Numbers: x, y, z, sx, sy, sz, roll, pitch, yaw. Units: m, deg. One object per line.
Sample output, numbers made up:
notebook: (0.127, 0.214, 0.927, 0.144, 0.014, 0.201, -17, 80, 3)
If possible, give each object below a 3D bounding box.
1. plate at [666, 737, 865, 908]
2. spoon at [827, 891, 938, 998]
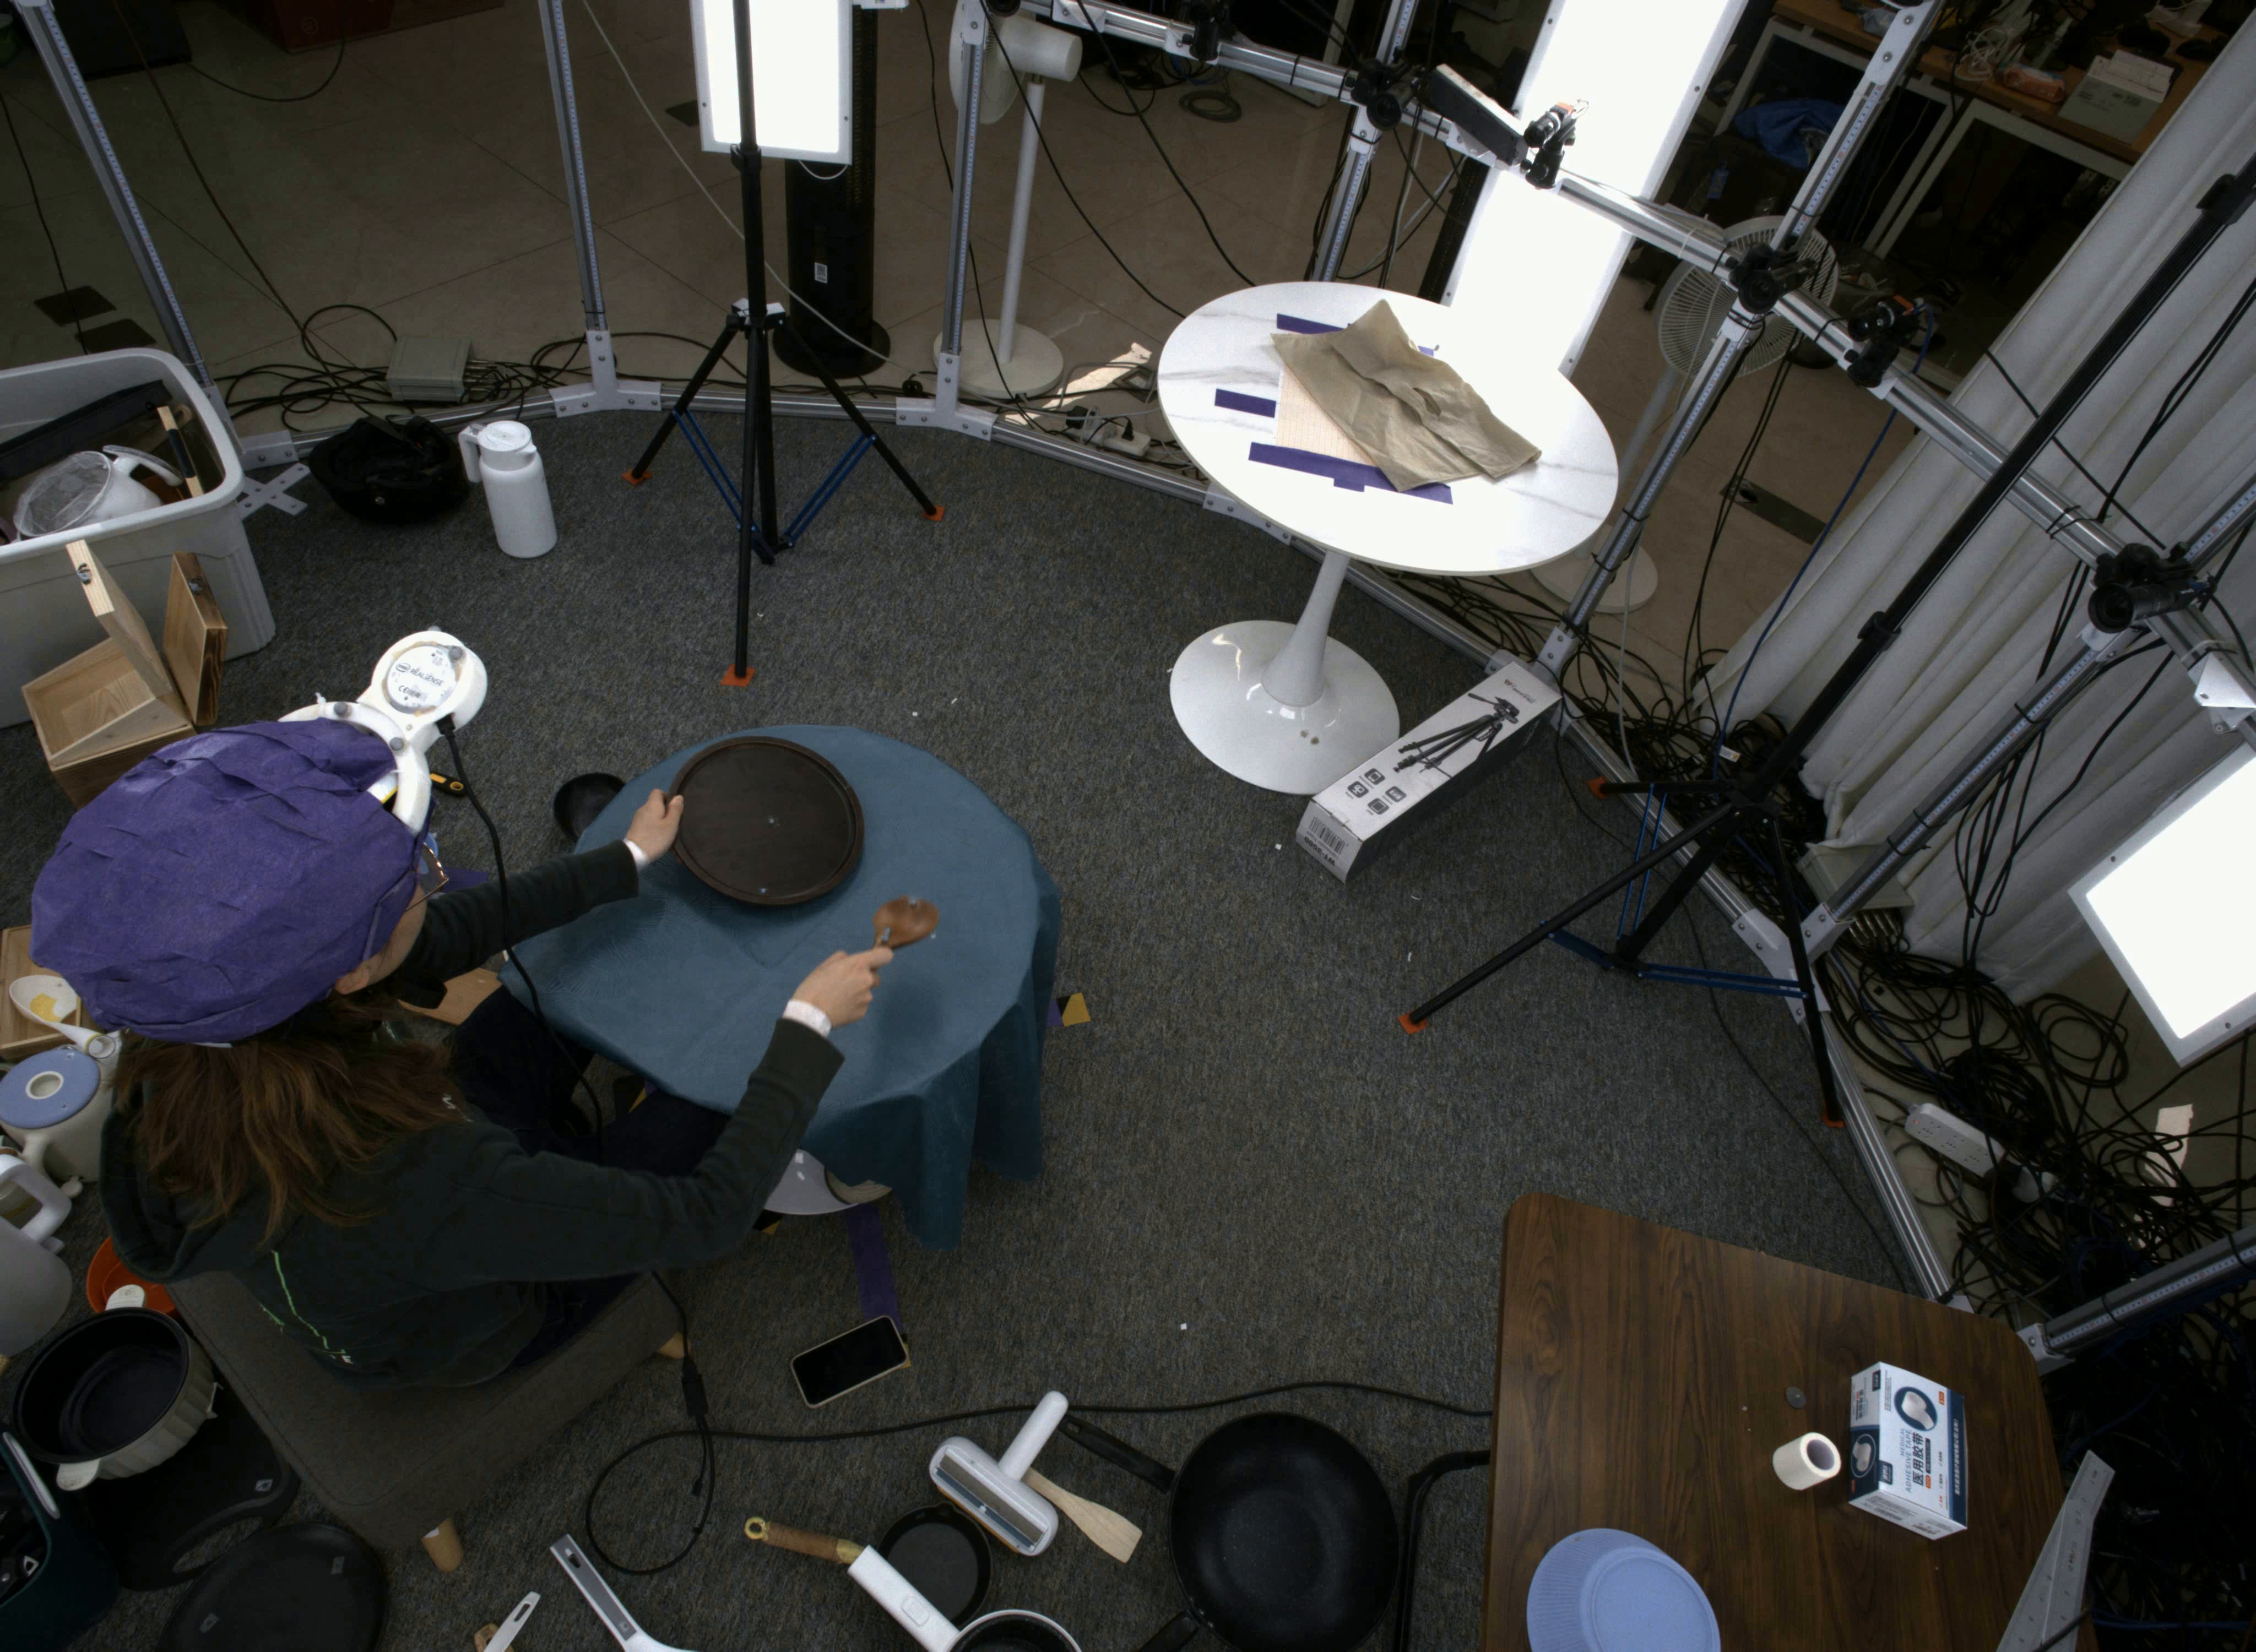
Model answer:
plate: (-0.467, -0.007, 1.673, 0.257, 0.029, 0.250, 15, 53, -19)
spoon: (-0.285, 0.132, 1.491, 0.074, 0.018, 0.214, 20, 31, 10)
